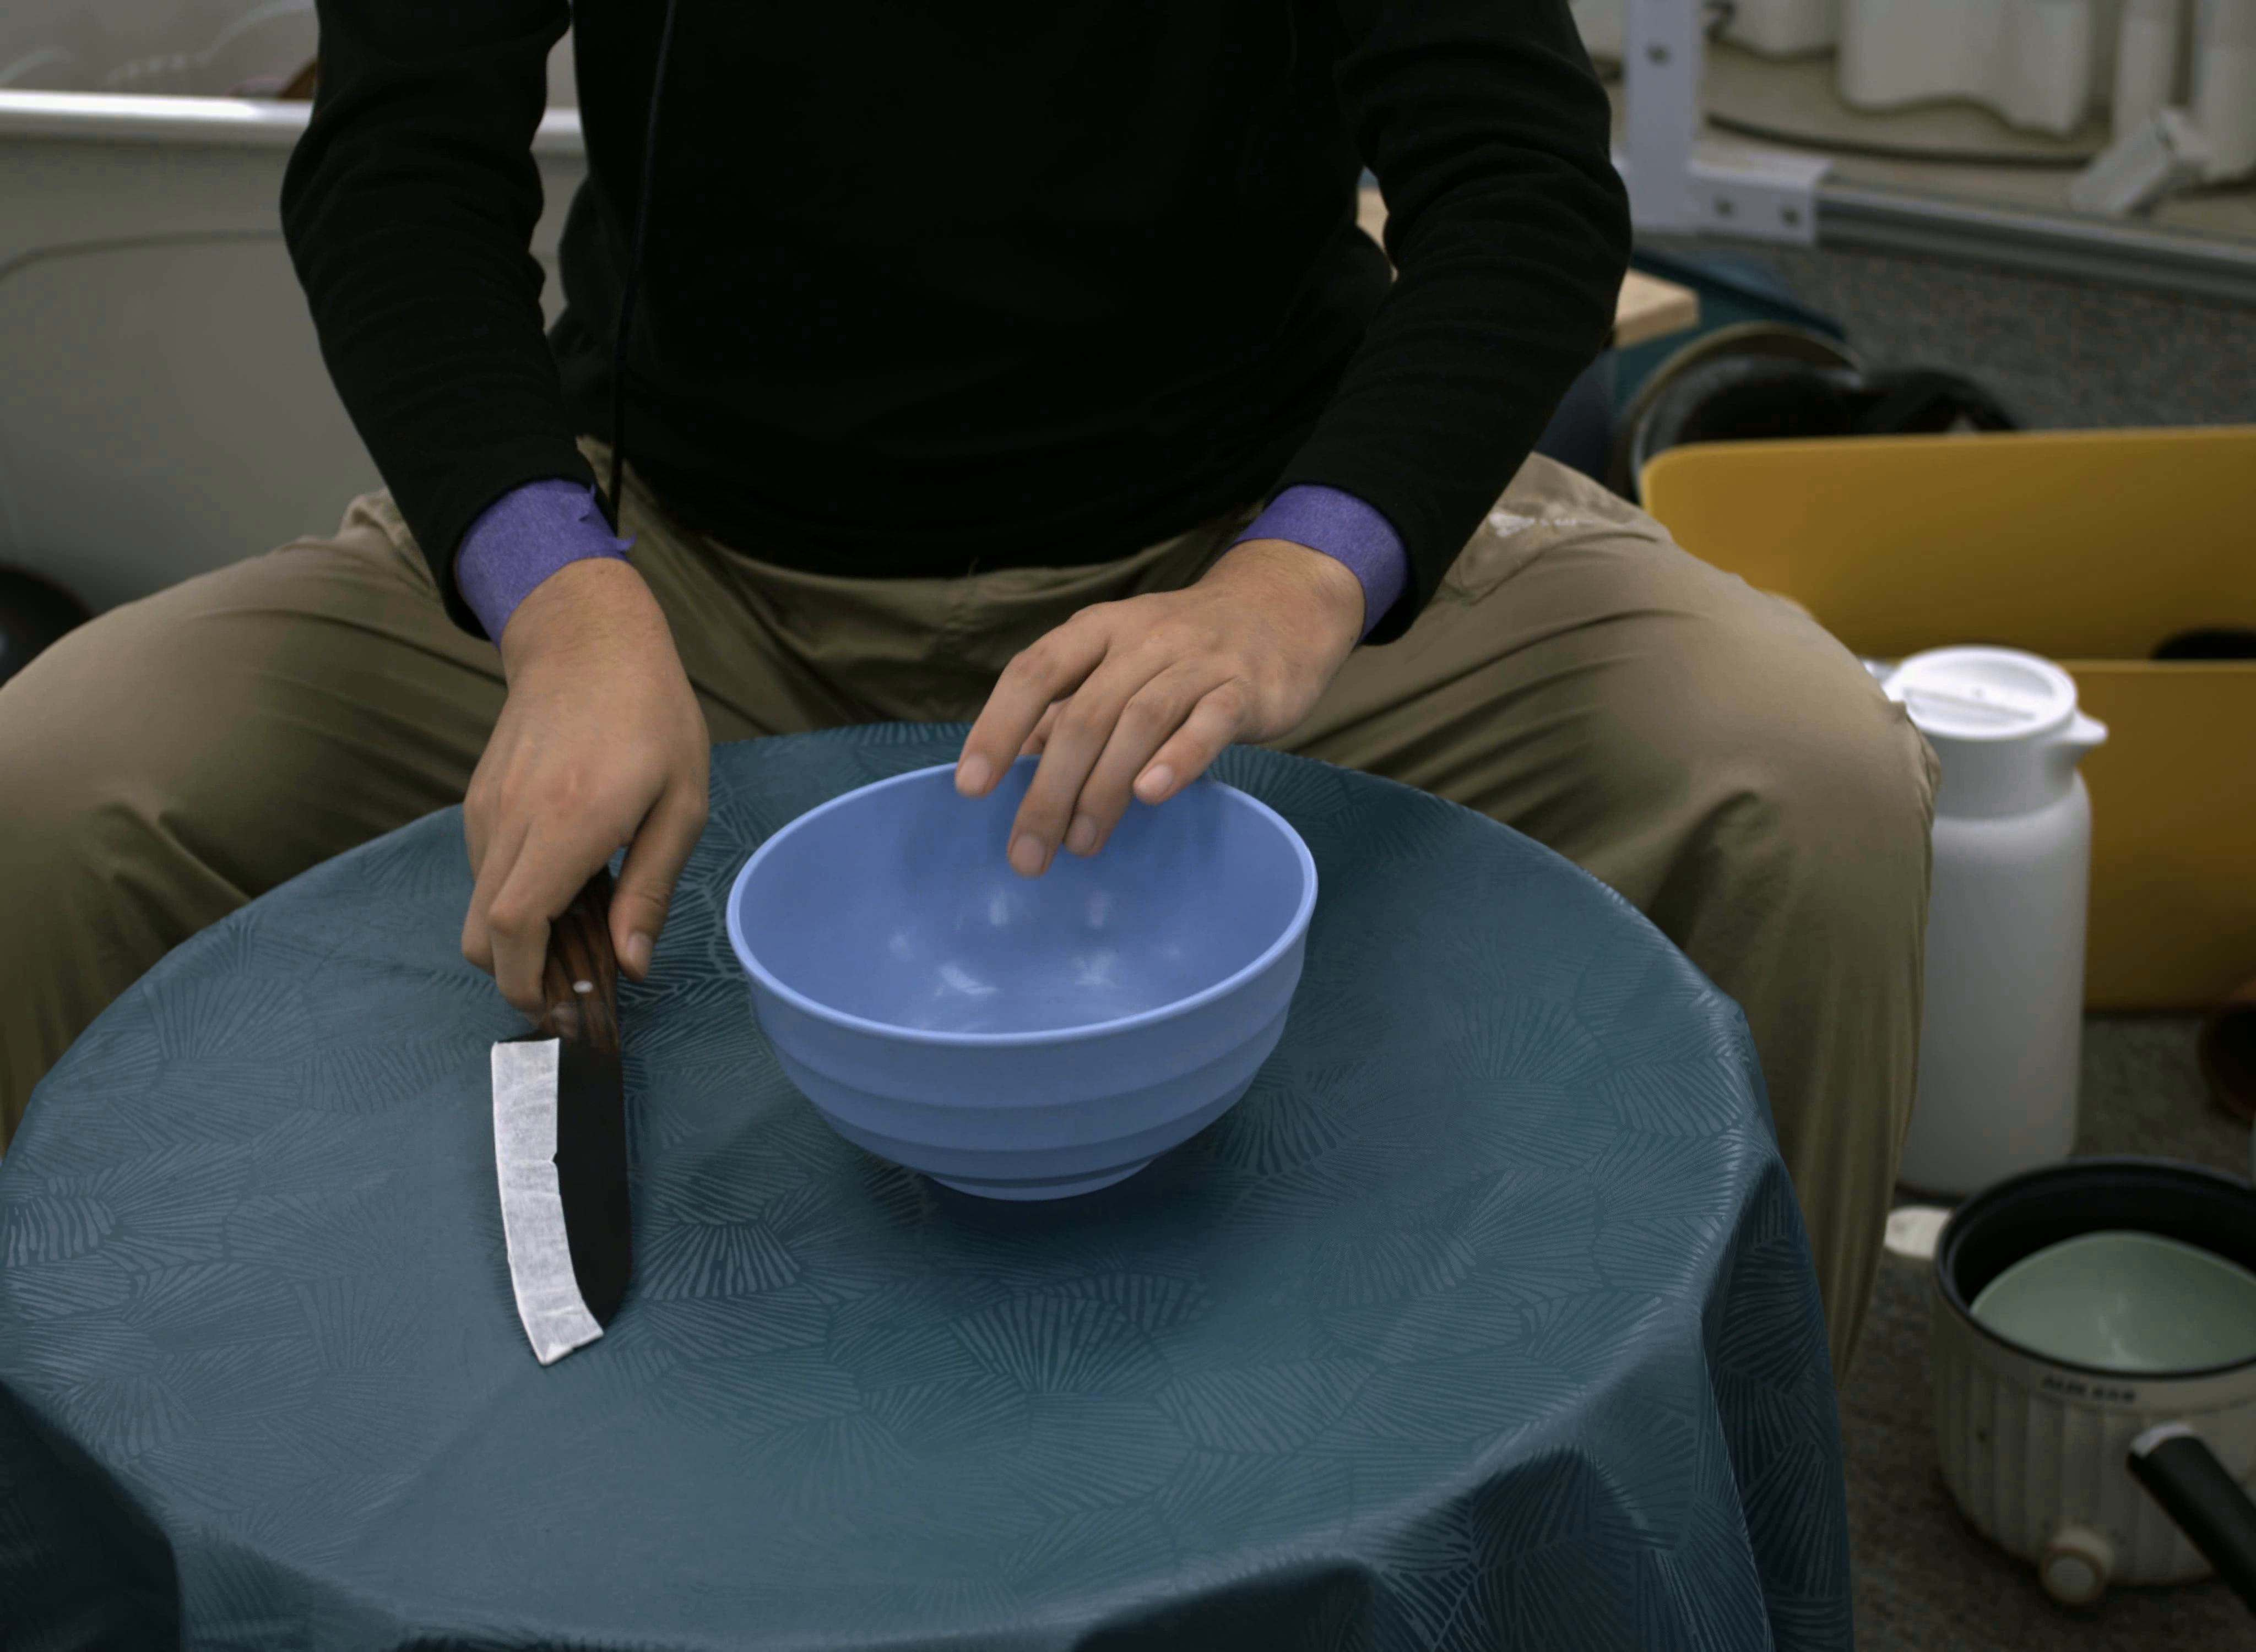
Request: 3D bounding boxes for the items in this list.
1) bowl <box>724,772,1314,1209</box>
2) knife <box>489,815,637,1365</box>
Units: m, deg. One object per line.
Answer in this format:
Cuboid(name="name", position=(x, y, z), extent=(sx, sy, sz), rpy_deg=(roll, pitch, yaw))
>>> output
Cuboid(name="bowl", position=(-0.033, 0.065, 1.877), extent=(0.195, 0.094, 0.199), rpy_deg=(-3, 25, 2))
Cuboid(name="knife", position=(-0.191, 0.087, 1.898), extent=(0.050, 0.020, 0.294), rpy_deg=(-2, 35, -3))
